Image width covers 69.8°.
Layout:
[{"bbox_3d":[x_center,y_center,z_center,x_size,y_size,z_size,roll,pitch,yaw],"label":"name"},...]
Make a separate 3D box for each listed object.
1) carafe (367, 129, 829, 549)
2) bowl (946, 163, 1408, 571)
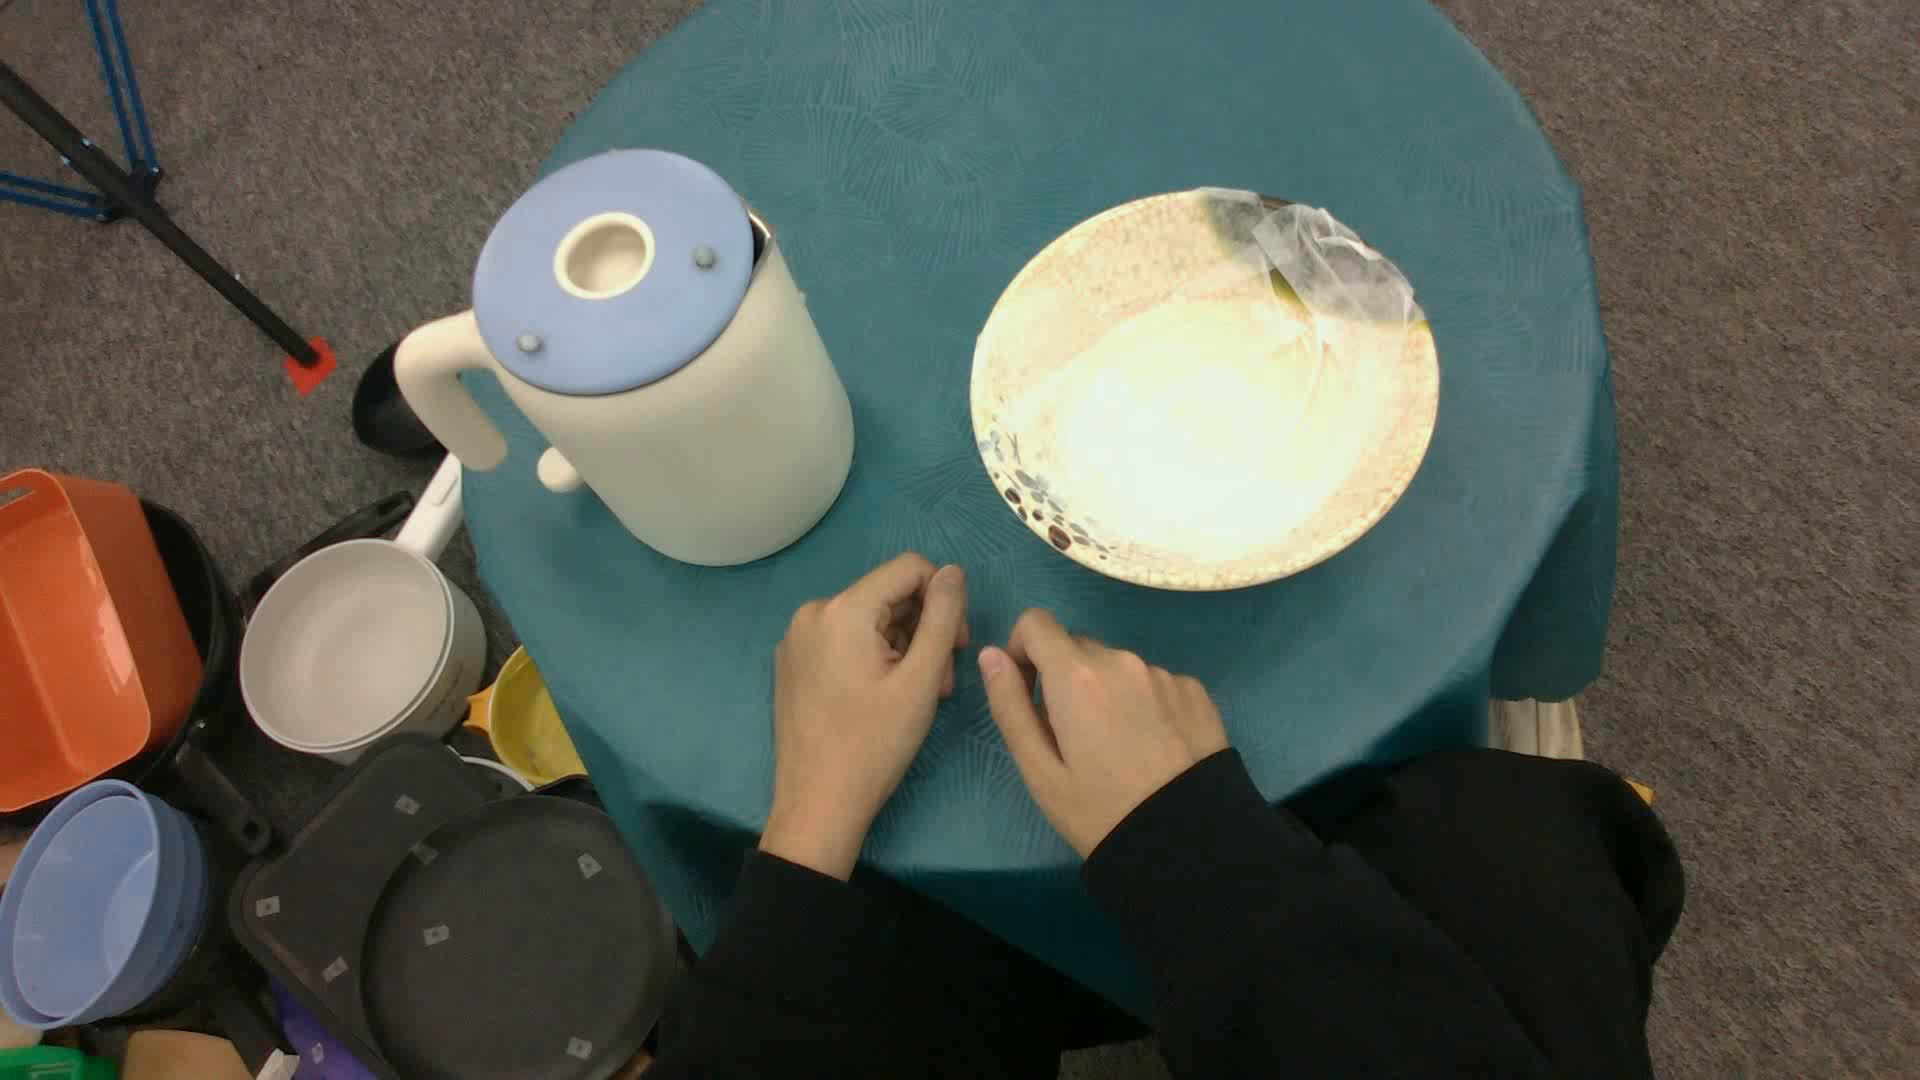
[{"bbox_3d":[-0.165,-0.080,0.636,0.191,0.182,0.132,-16,64,4],"label":"carafe"},{"bbox_3d":[0.099,-0.070,0.645,0.204,0.078,0.204,-3,69,8],"label":"bowl"}]
